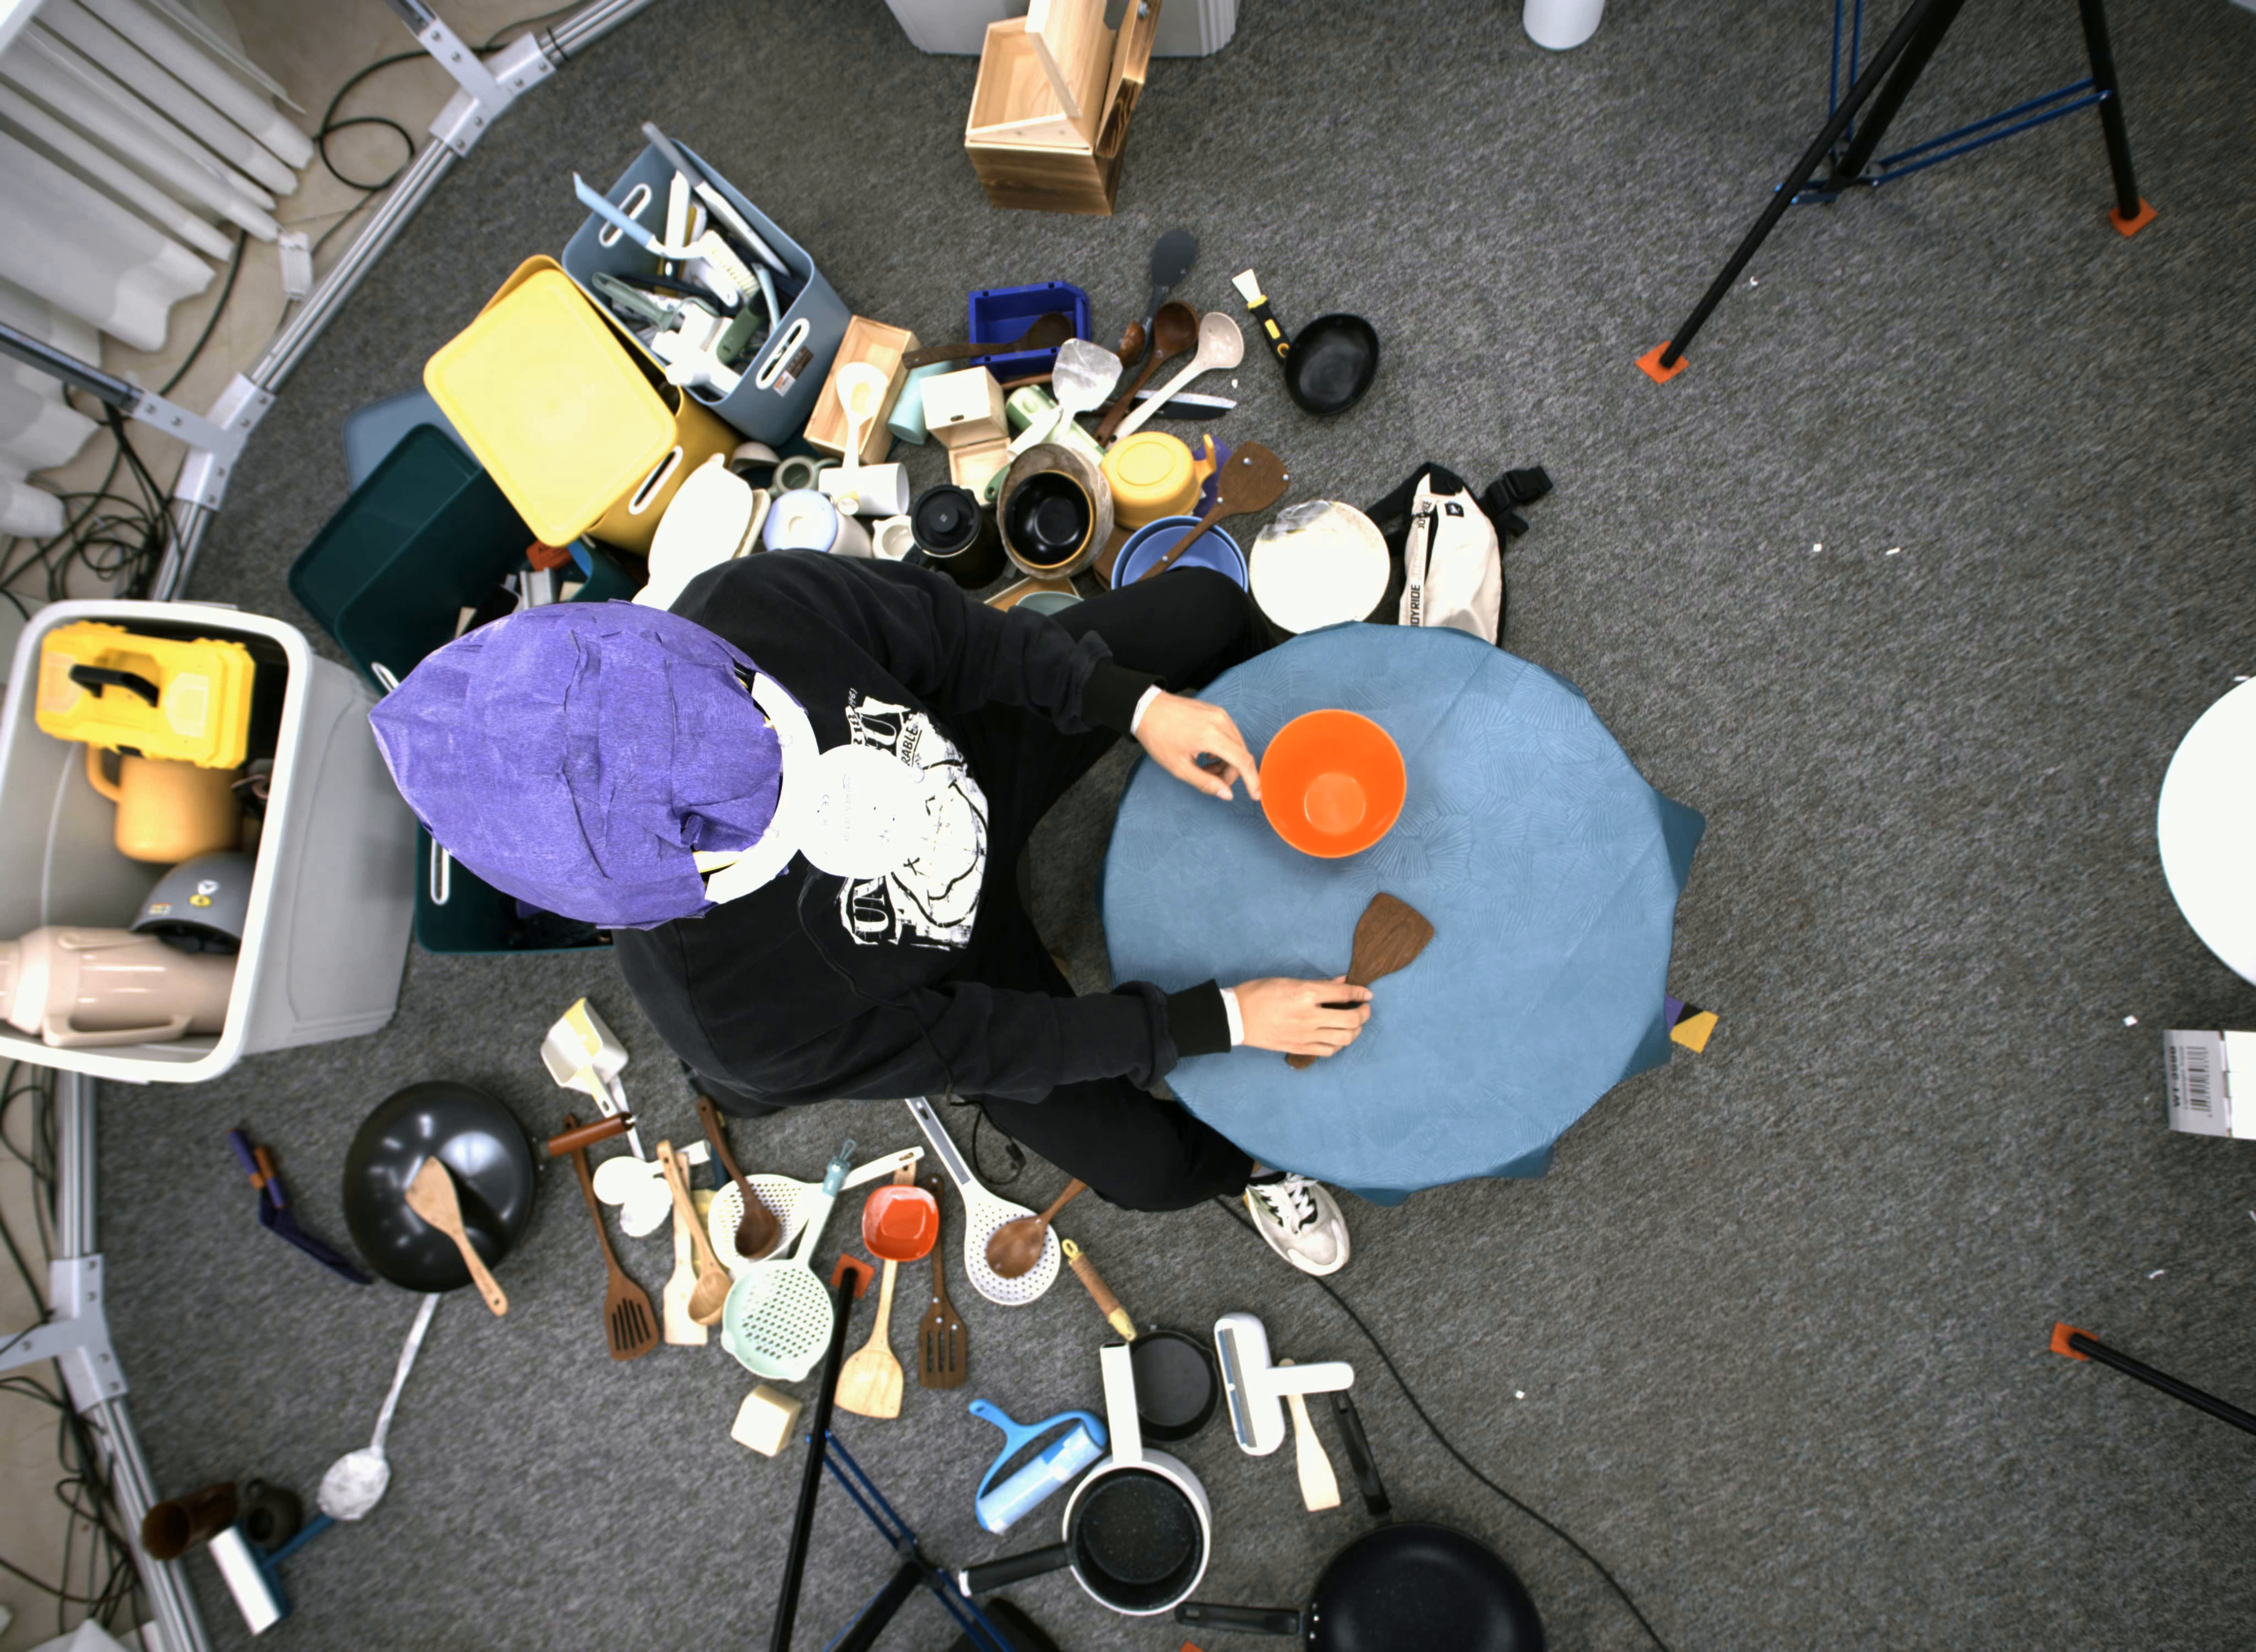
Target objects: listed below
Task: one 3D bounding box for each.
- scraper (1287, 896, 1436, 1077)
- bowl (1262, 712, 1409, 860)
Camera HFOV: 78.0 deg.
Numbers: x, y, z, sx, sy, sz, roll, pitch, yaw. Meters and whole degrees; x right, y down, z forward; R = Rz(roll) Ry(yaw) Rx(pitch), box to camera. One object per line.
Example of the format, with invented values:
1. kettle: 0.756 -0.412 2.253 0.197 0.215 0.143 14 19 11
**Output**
1. scraper: 0.237 0.173 1.460 0.075 0.011 0.212 36 94 12
2. bowl: 0.216 -0.037 1.431 0.148 0.105 0.147 -1 85 9
